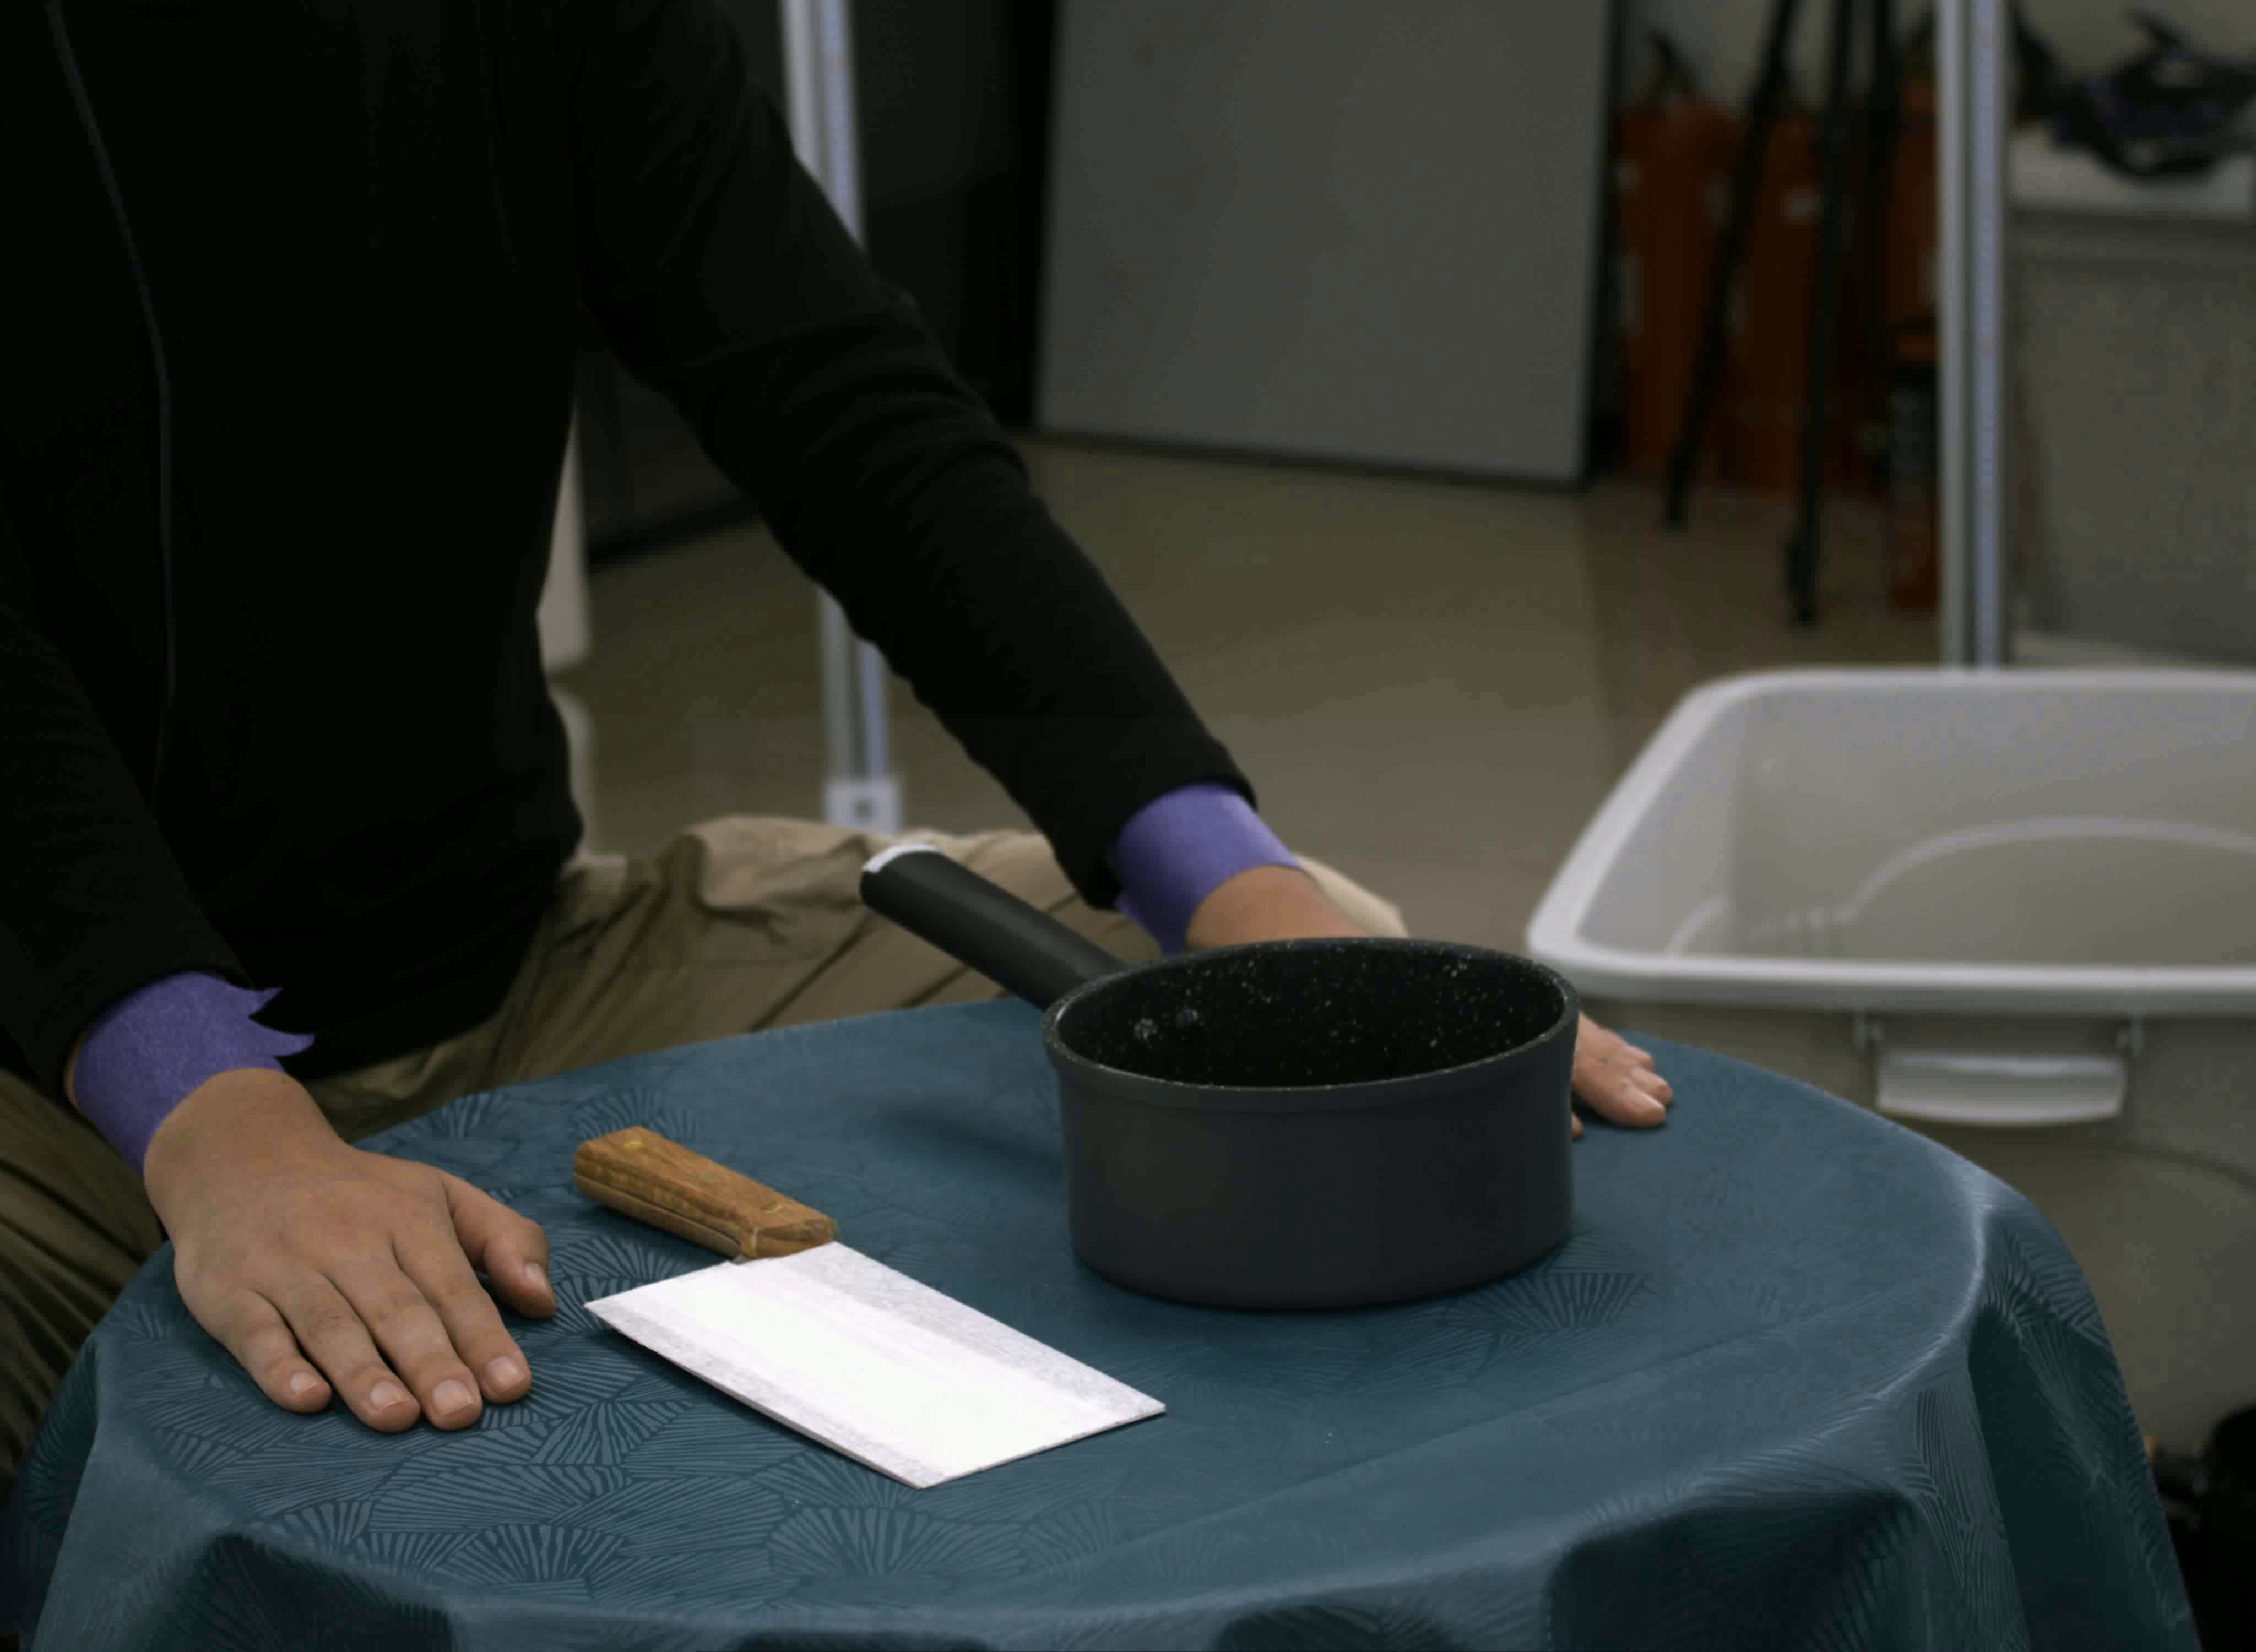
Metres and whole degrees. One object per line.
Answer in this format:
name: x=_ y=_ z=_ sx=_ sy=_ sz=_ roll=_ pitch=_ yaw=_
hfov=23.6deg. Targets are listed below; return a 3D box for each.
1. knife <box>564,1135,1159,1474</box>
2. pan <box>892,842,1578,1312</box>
knife: x=-0.109 y=0.148 z=1.667 sx=0.091 sy=0.021 sz=0.309 roll=-15 pitch=19 yaw=-32
pan: x=0.017 y=0.077 z=1.775 sx=0.168 sy=0.087 sz=0.332 roll=-12 pitch=16 yaw=-30
